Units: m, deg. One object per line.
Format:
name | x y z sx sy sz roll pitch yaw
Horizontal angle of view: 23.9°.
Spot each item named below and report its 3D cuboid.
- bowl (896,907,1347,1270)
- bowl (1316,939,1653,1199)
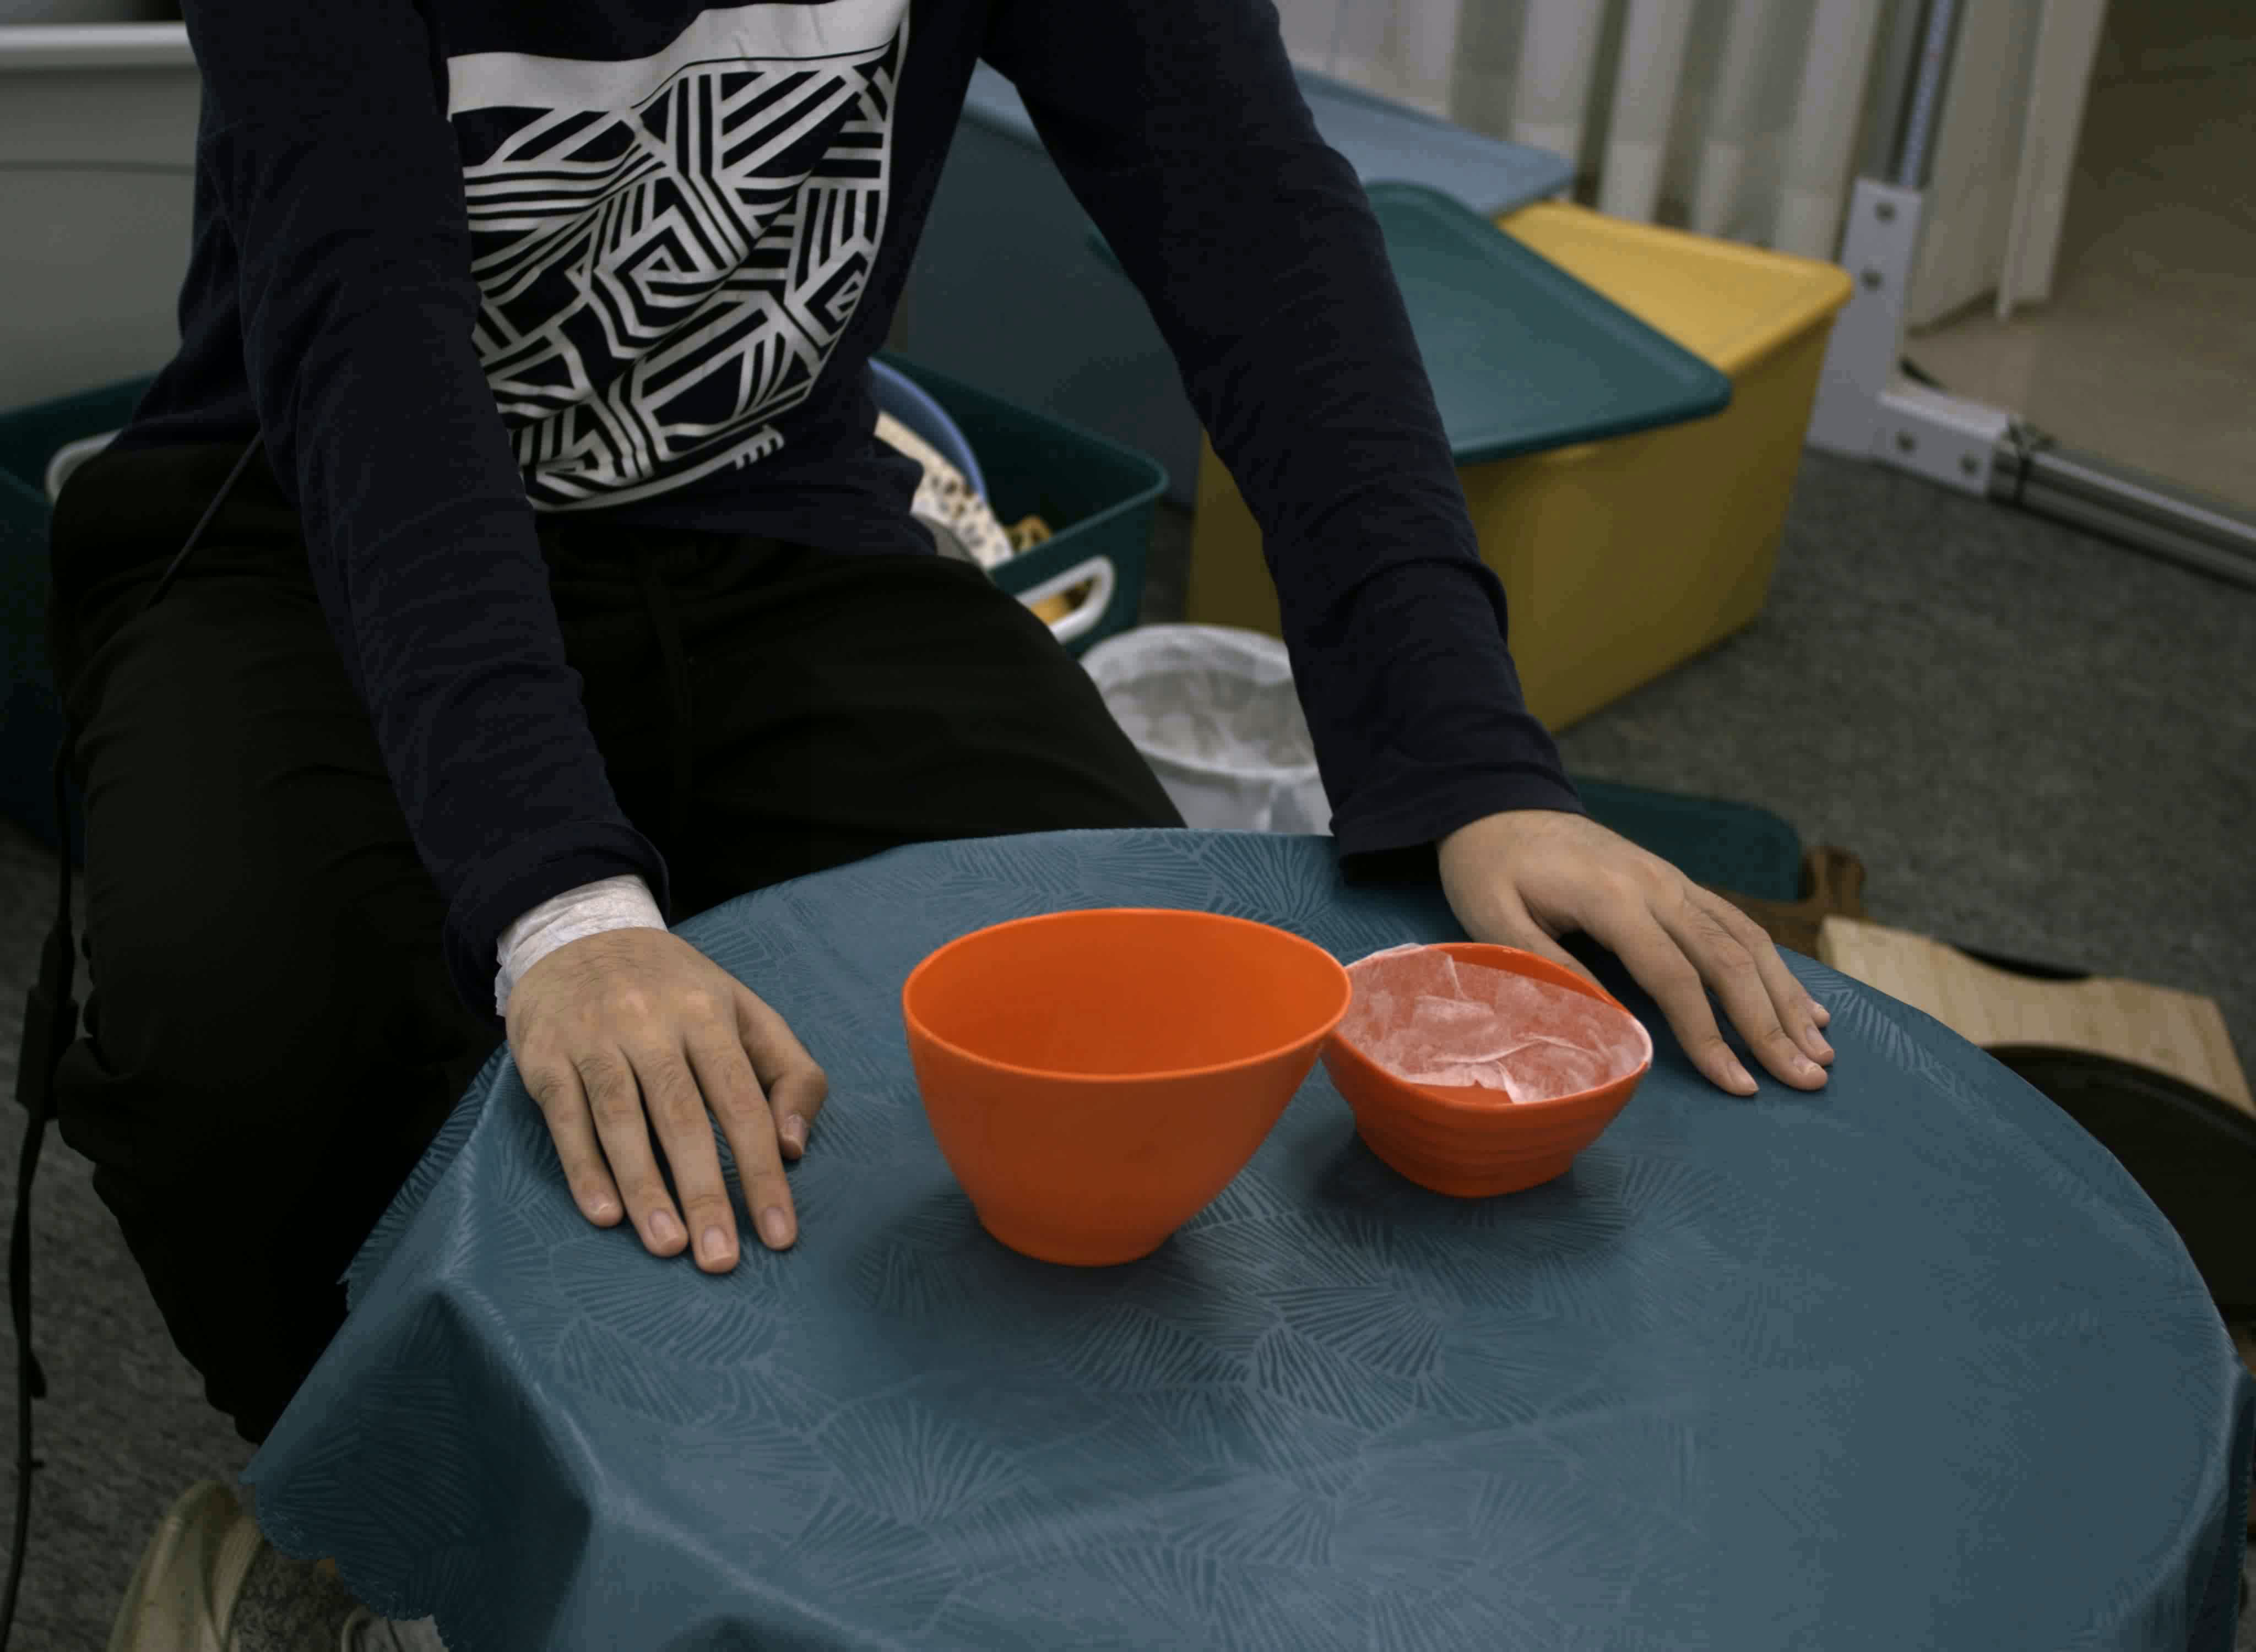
bowl | -0.006 0.091 1.758 0.147 0.104 0.149 4 27 -3
bowl | 0.120 0.089 1.846 0.118 0.051 0.119 4 27 -2
